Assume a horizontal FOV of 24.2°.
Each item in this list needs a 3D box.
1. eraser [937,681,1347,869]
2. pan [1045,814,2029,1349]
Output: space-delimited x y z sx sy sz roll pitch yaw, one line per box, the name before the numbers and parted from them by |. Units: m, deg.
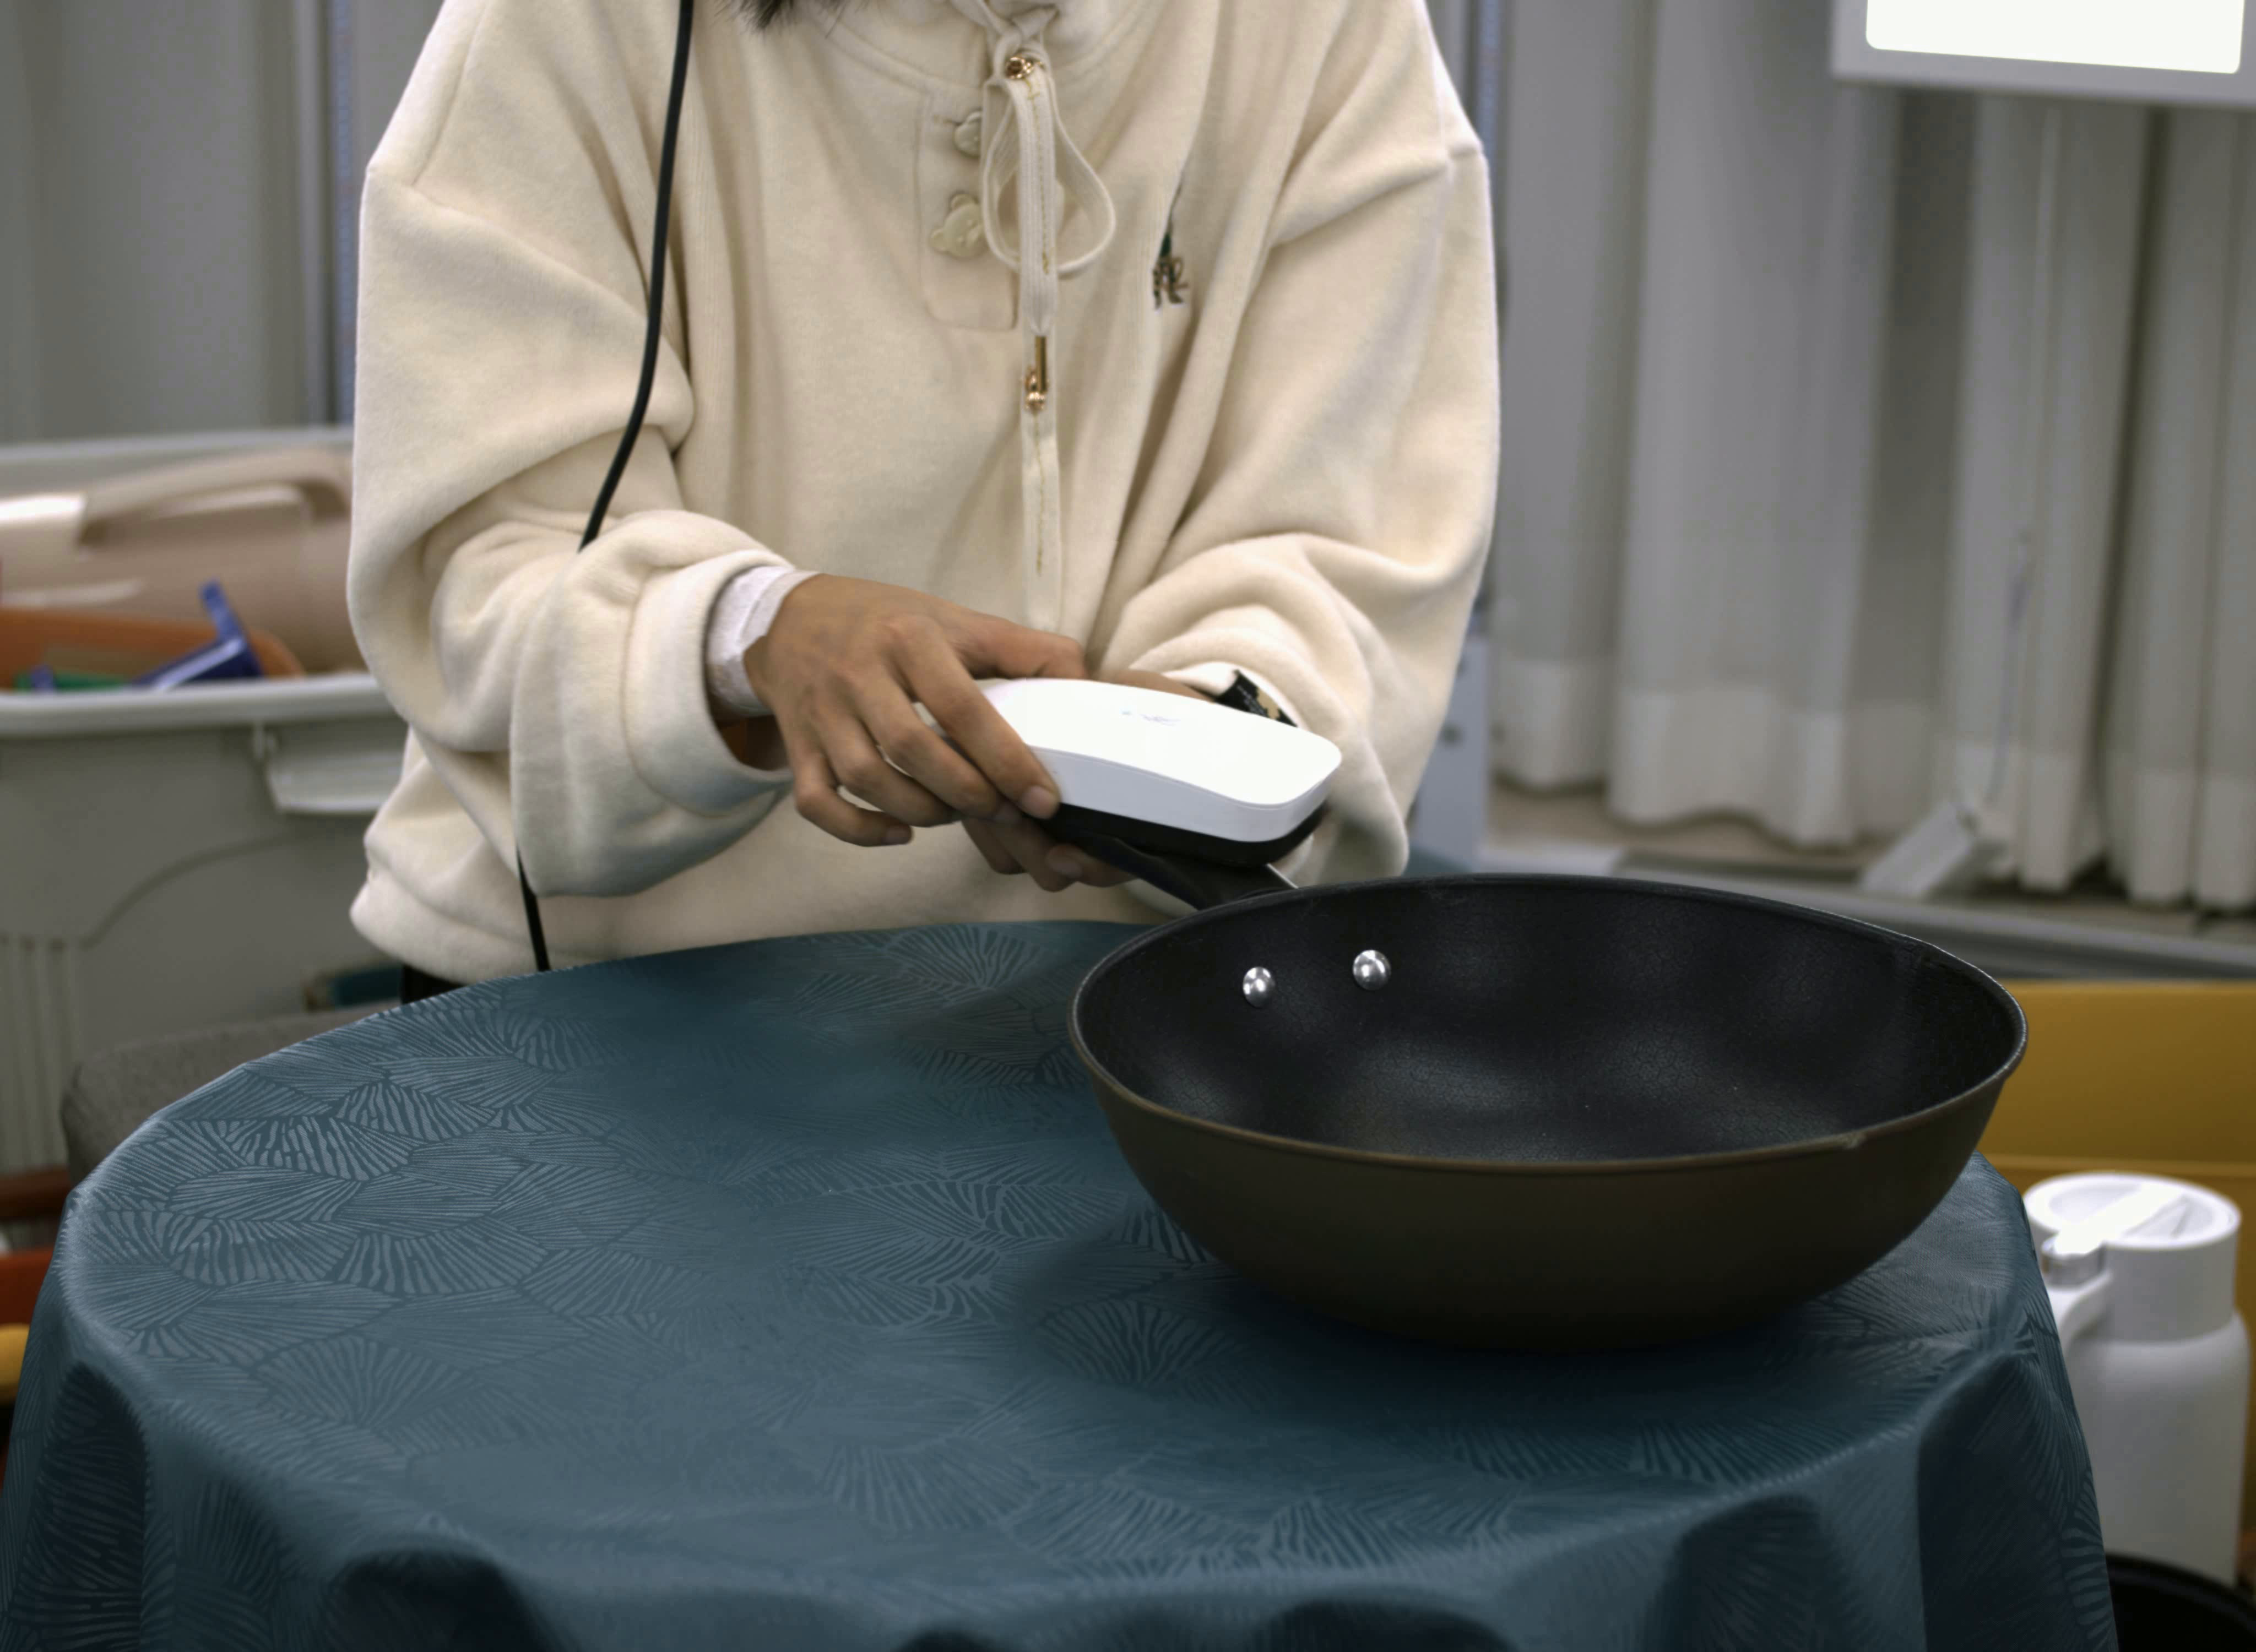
eraser | 0.005 -0.019 1.704 0.130 0.035 0.063 12 23 25
pan | 0.075 0.069 1.622 0.289 0.087 0.457 -8 17 -30
